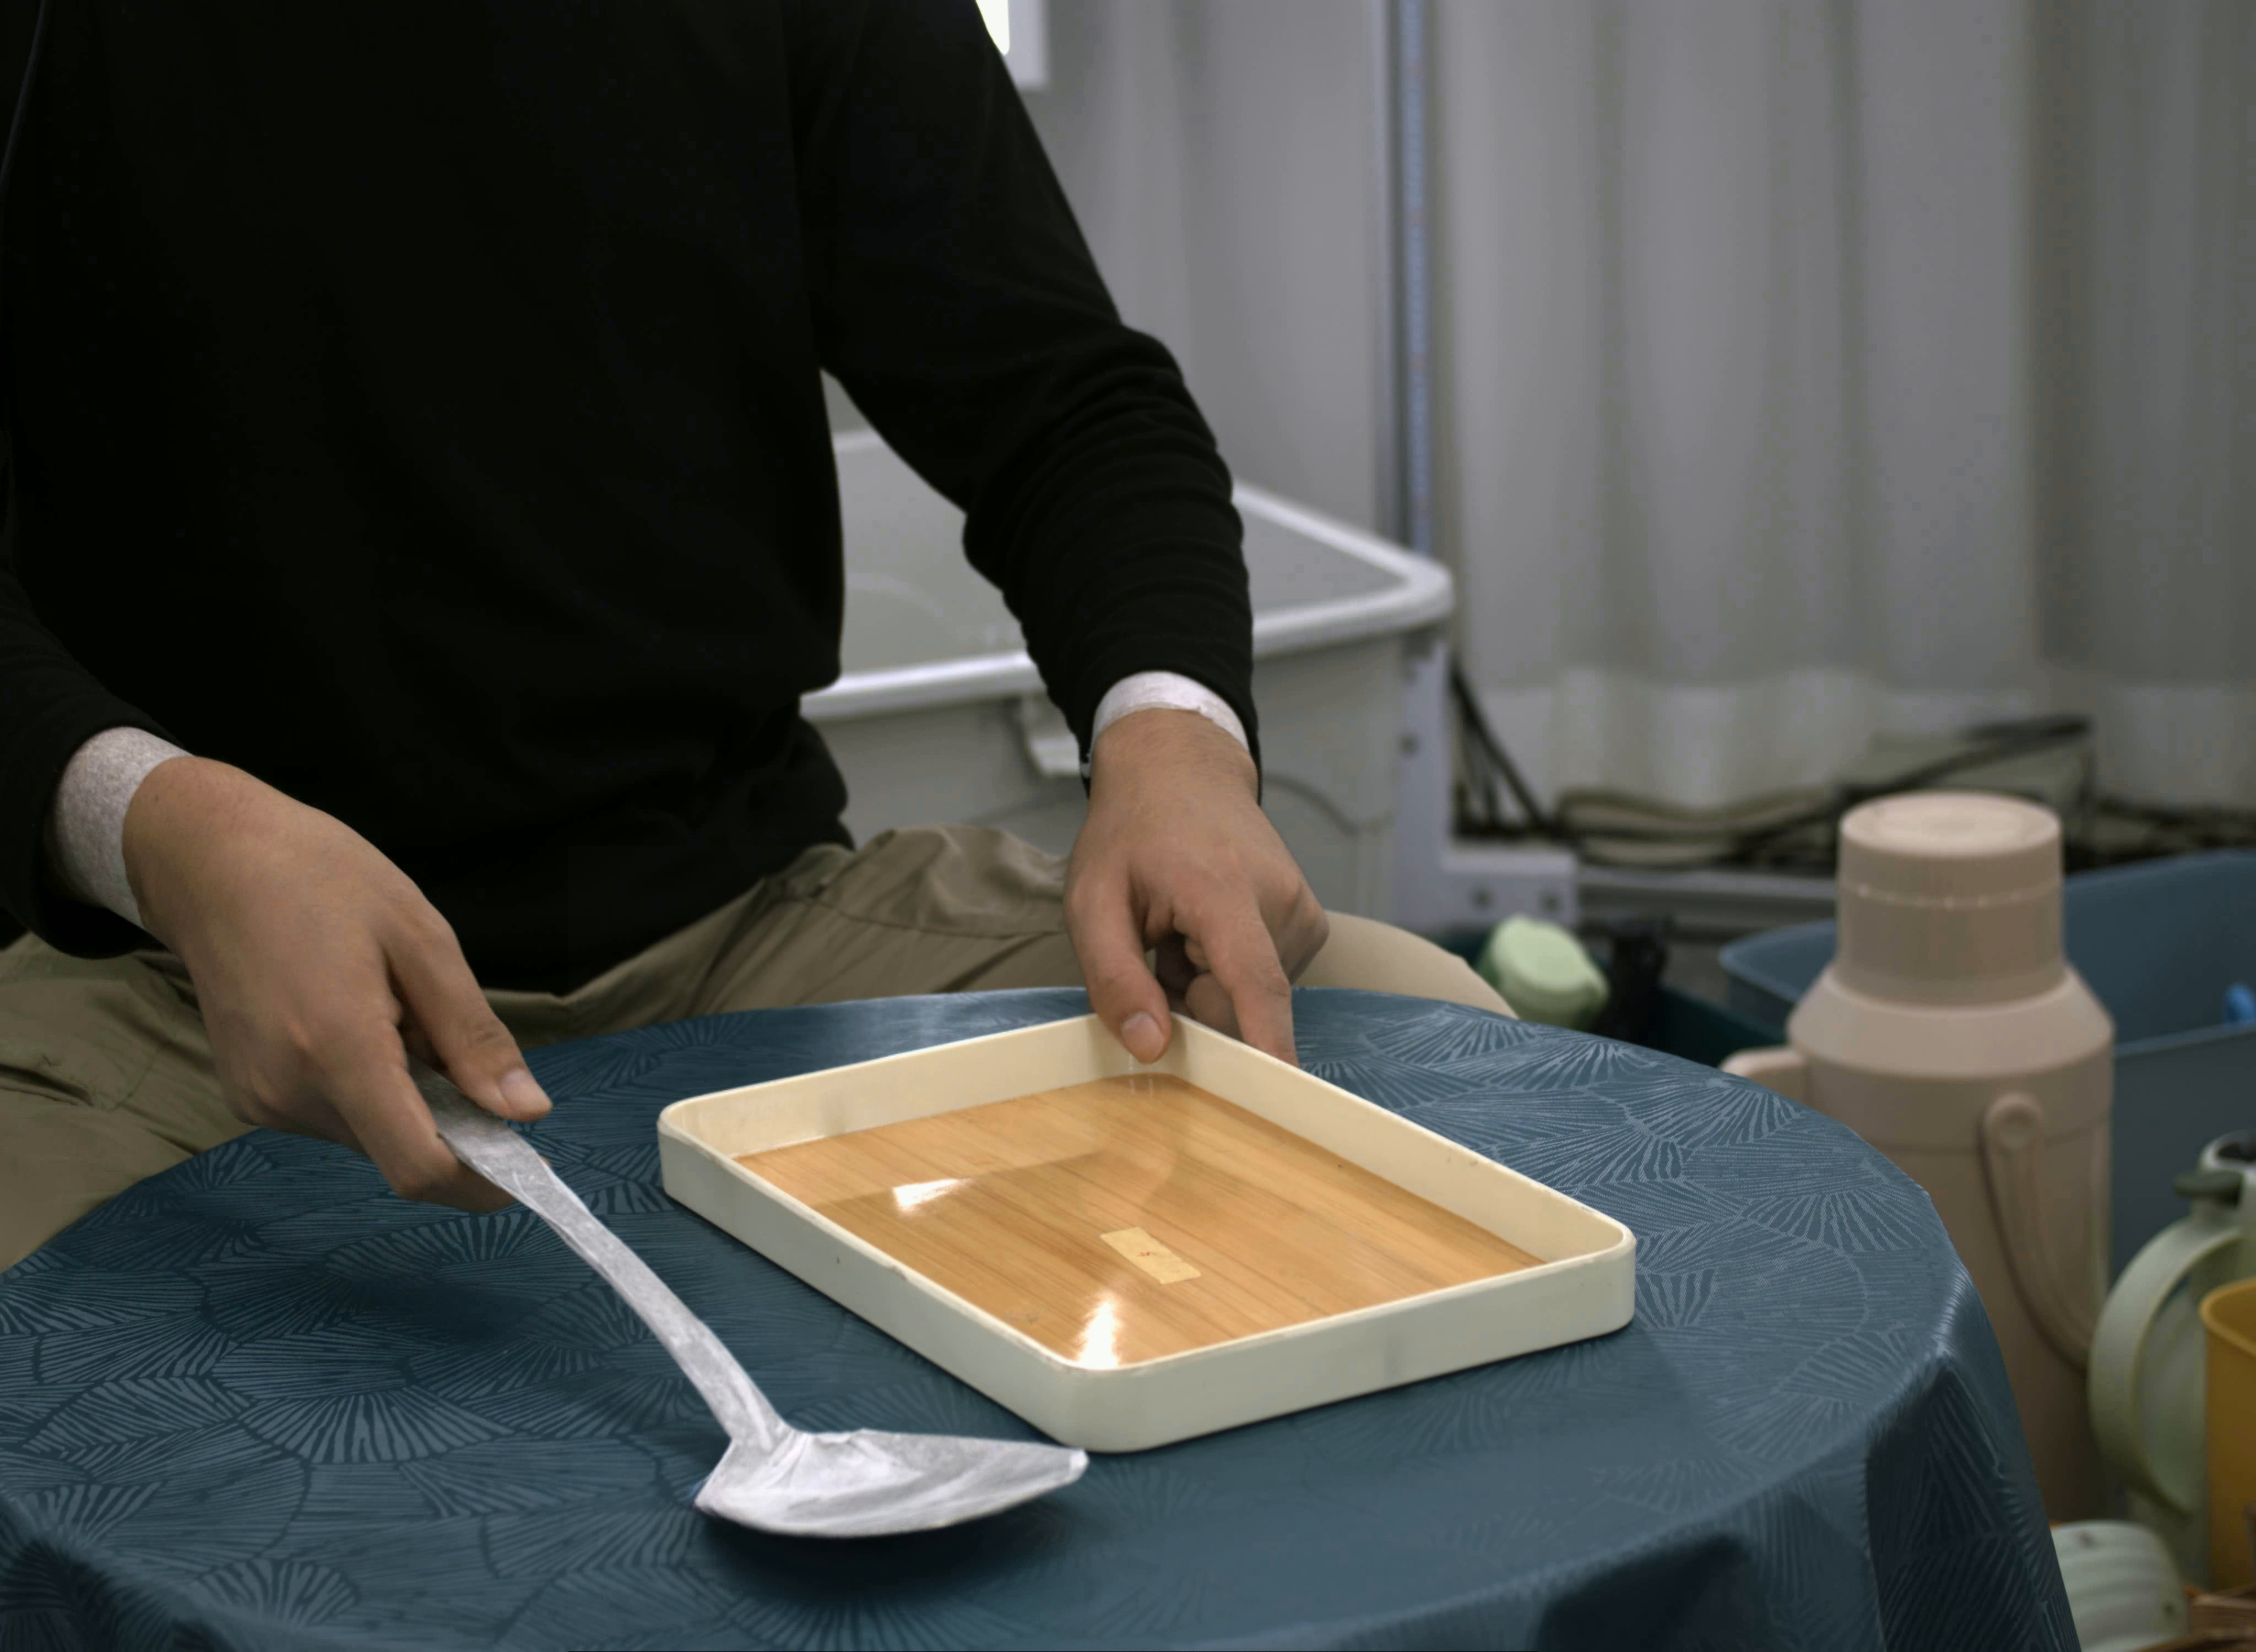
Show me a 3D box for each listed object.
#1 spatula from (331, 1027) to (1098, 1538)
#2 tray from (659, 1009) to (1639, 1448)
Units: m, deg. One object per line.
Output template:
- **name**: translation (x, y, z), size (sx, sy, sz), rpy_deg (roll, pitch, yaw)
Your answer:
- **spatula**: translation (-0.142, 0.121, 1.550), size (0.098, 0.044, 0.369), rpy_deg (-11, 30, -33)
- **tray**: translation (0.000, 0.117, 1.654), size (0.191, 0.027, 0.302), rpy_deg (-11, 16, -27)
